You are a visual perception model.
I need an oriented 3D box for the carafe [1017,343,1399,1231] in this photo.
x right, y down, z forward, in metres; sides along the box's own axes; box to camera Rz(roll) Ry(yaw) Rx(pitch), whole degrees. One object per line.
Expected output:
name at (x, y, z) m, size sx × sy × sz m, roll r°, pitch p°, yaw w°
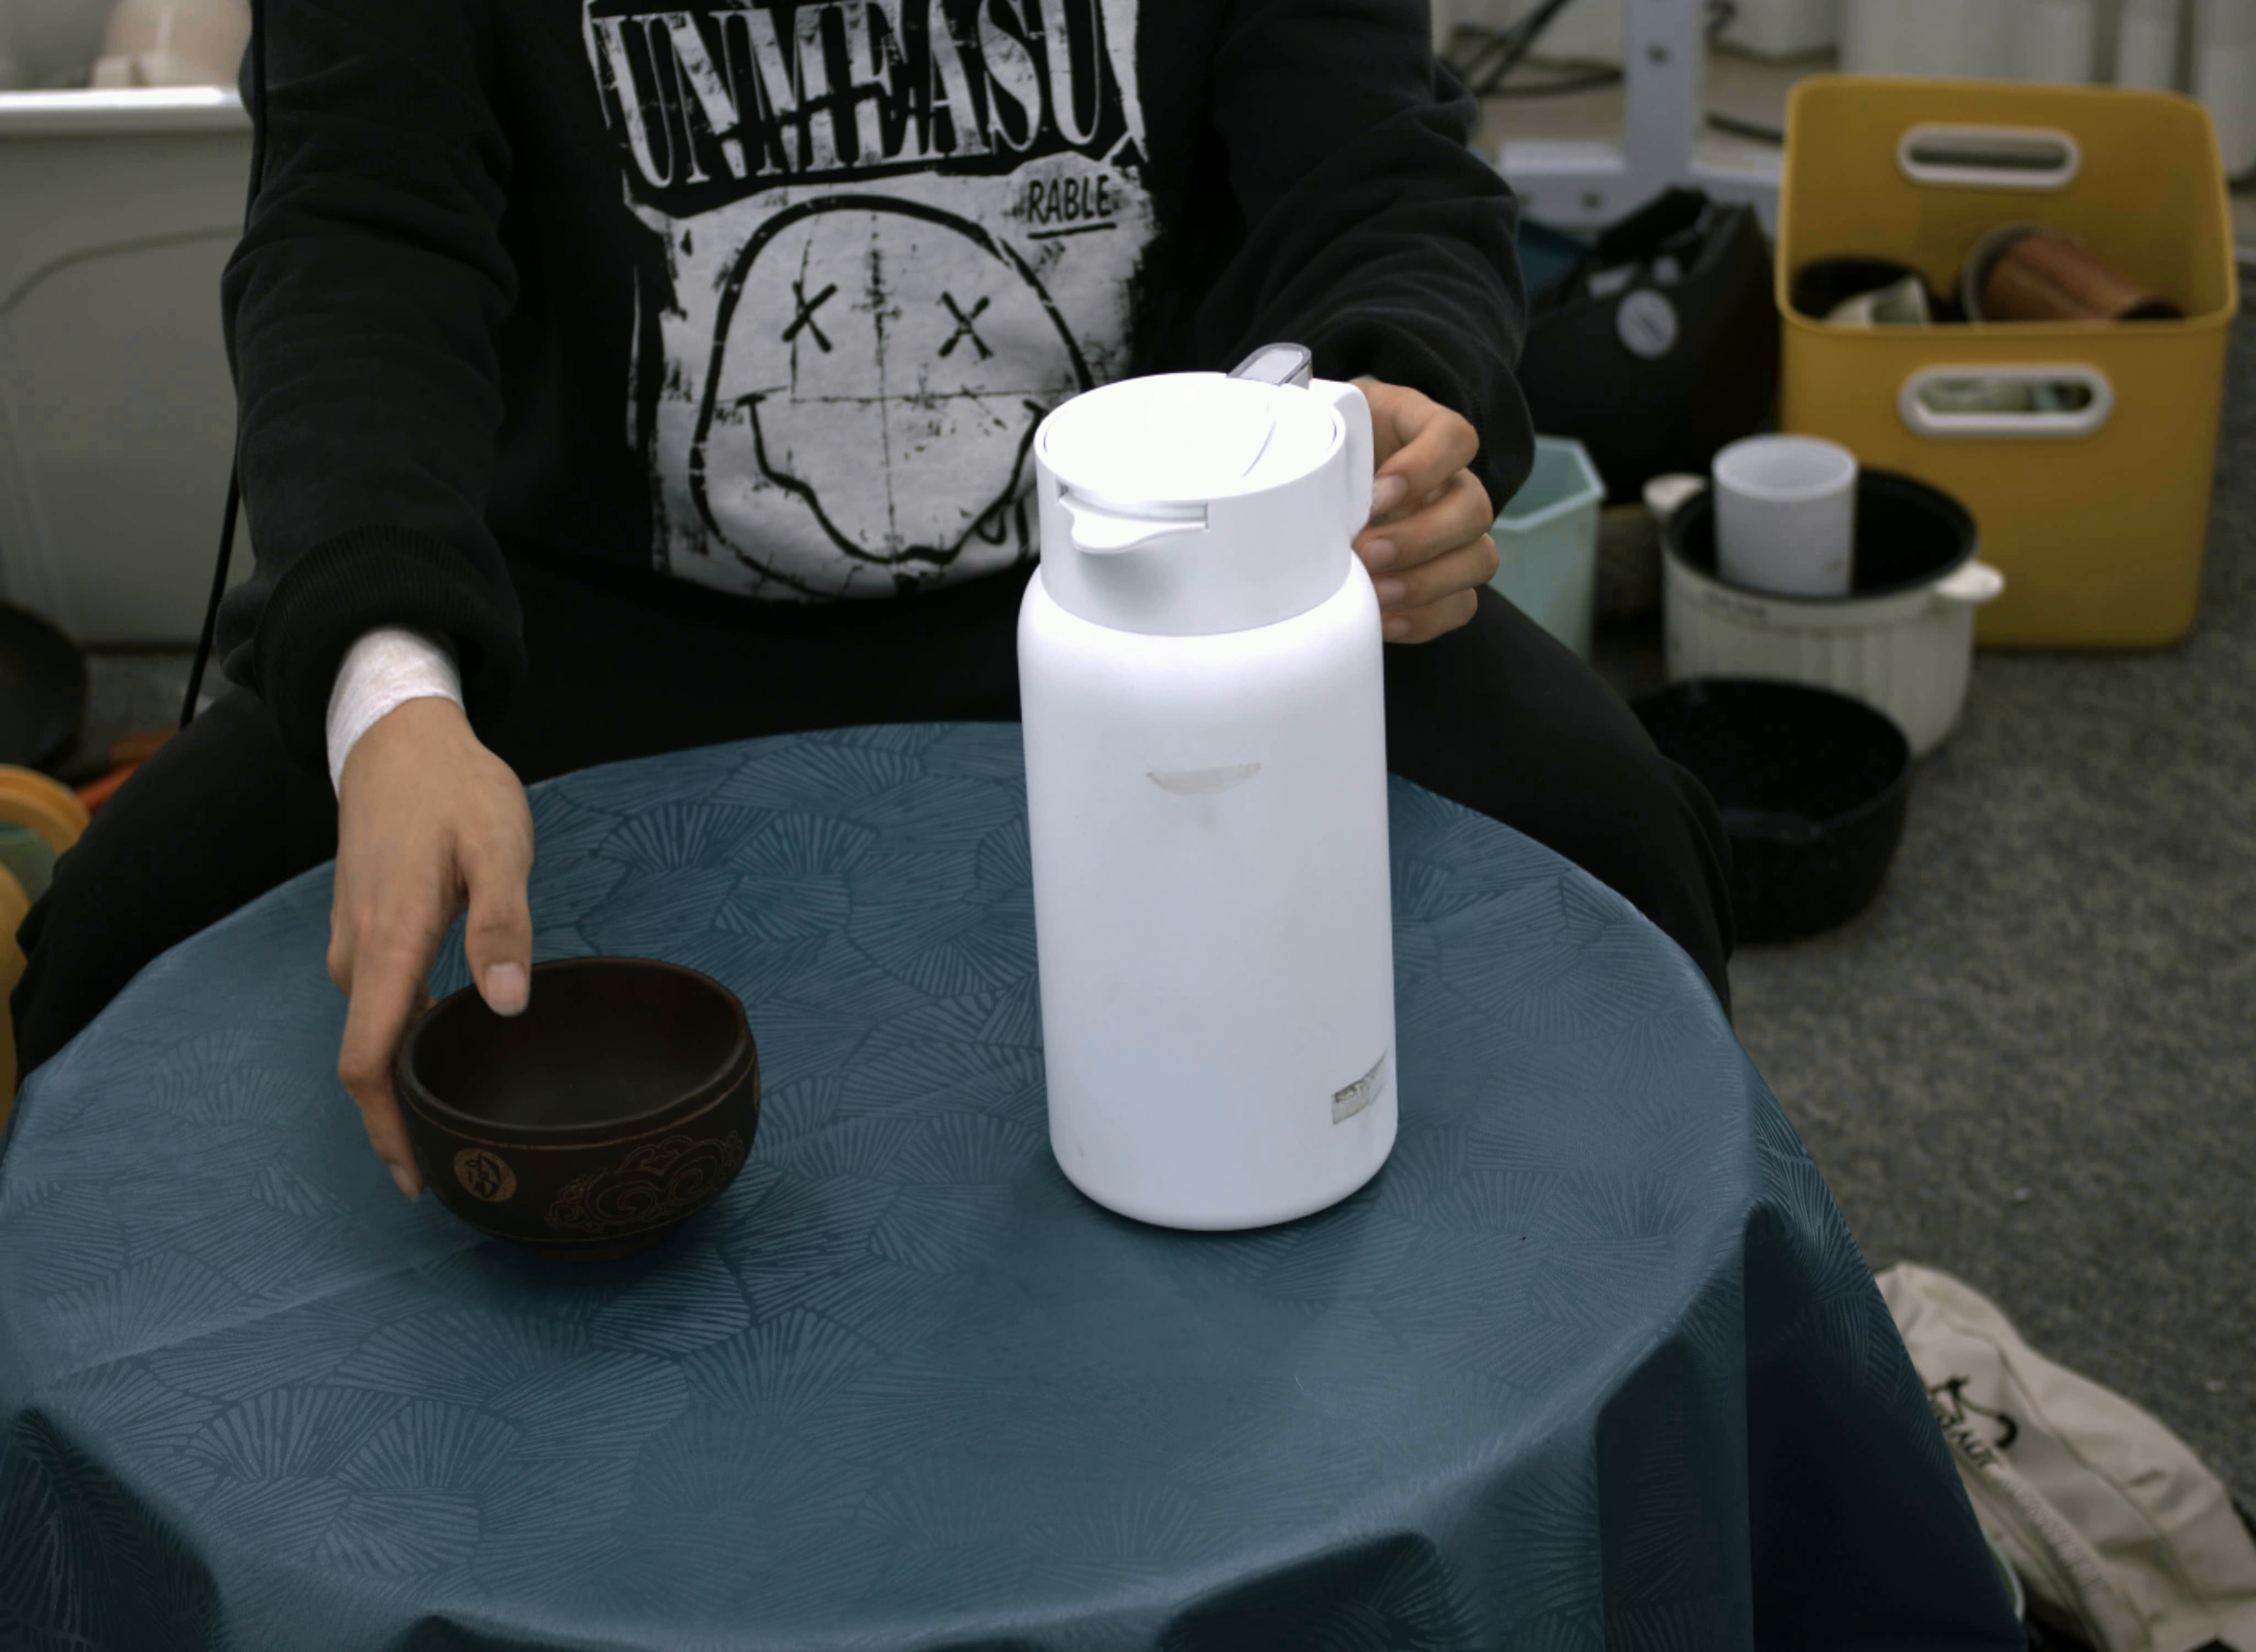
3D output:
carafe at (0.032, -0.016, 1.836) m, size 0.123 × 0.266 × 0.176 m, roll 8°, pitch 28°, yaw 25°

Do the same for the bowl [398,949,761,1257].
bowl at (-0.178, 0.098, 1.843) m, size 0.117 × 0.069 × 0.120 m, roll -2°, pitch 27°, yaw 2°
